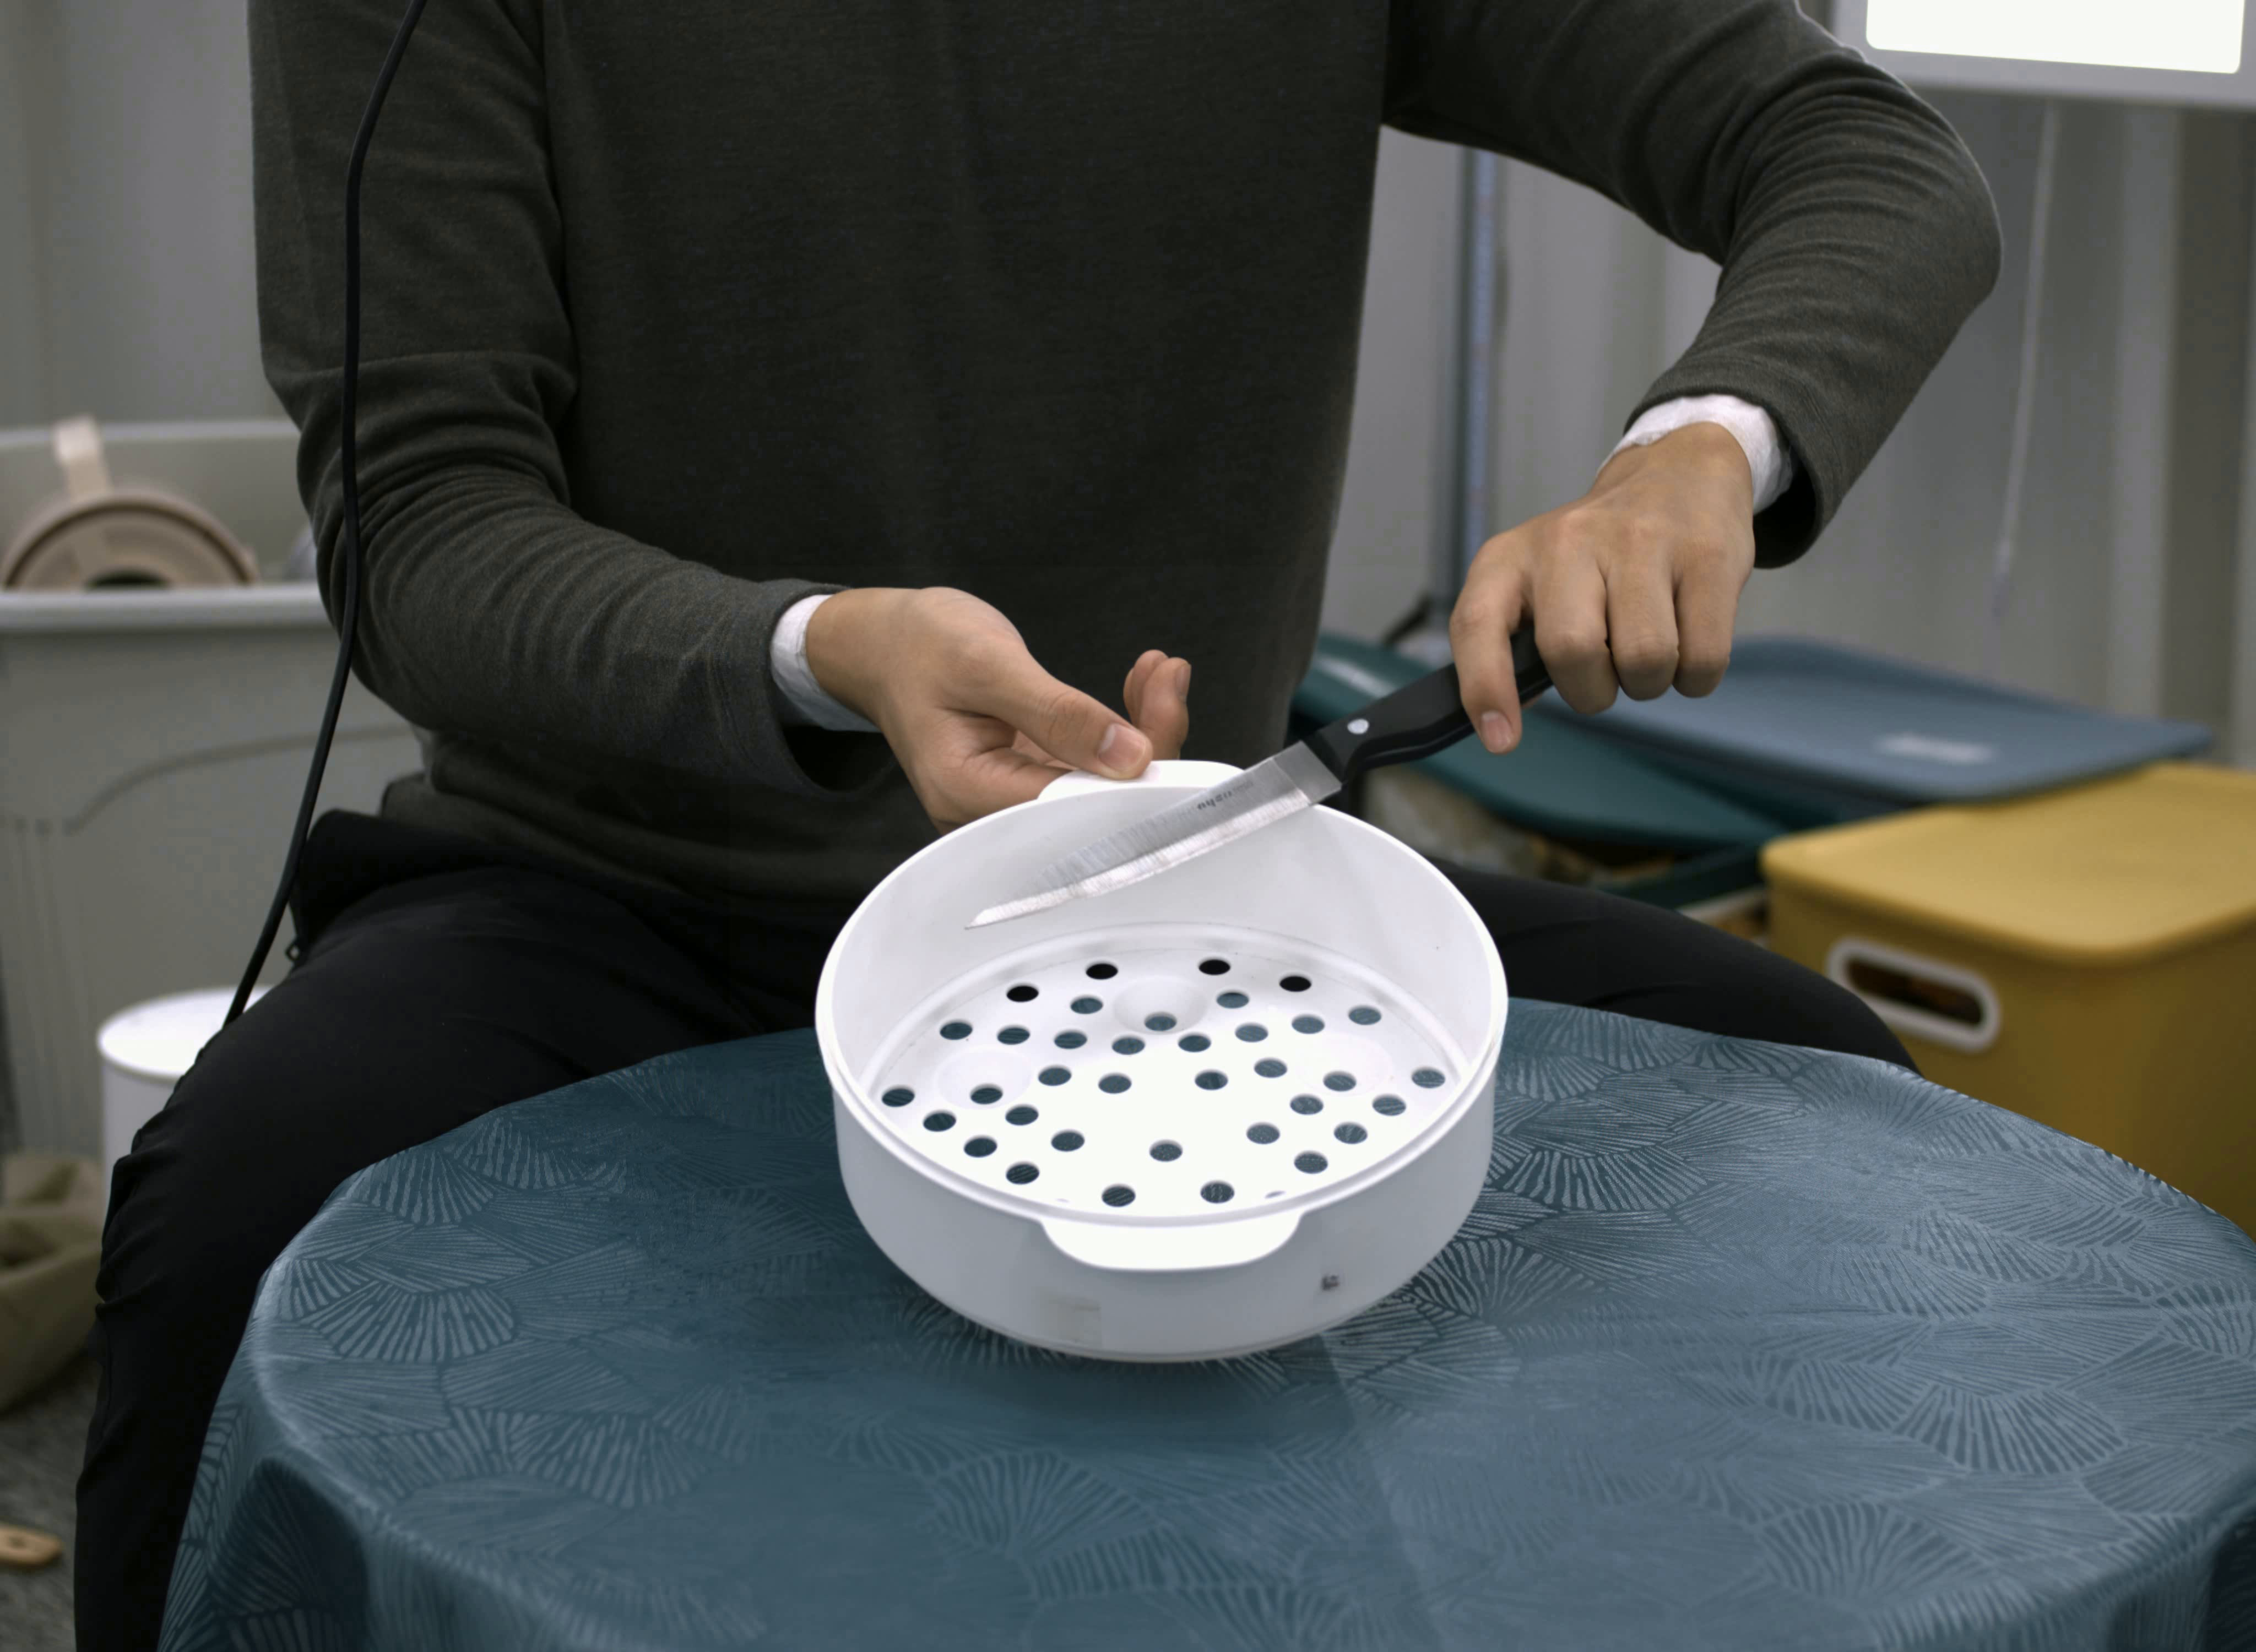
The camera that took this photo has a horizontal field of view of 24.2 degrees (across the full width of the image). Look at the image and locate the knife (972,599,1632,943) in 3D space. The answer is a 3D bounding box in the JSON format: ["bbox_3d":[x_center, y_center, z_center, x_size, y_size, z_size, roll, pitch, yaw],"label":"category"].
[{"bbox_3d":[0.052,-0.017,1.589,0.238,0.016,0.024,-26,49,-21],"label":"knife"}]

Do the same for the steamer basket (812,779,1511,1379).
[{"bbox_3d":[0.010,0.076,1.534,0.201,0.070,0.228,-1,37,-1],"label":"steamer basket"}]
